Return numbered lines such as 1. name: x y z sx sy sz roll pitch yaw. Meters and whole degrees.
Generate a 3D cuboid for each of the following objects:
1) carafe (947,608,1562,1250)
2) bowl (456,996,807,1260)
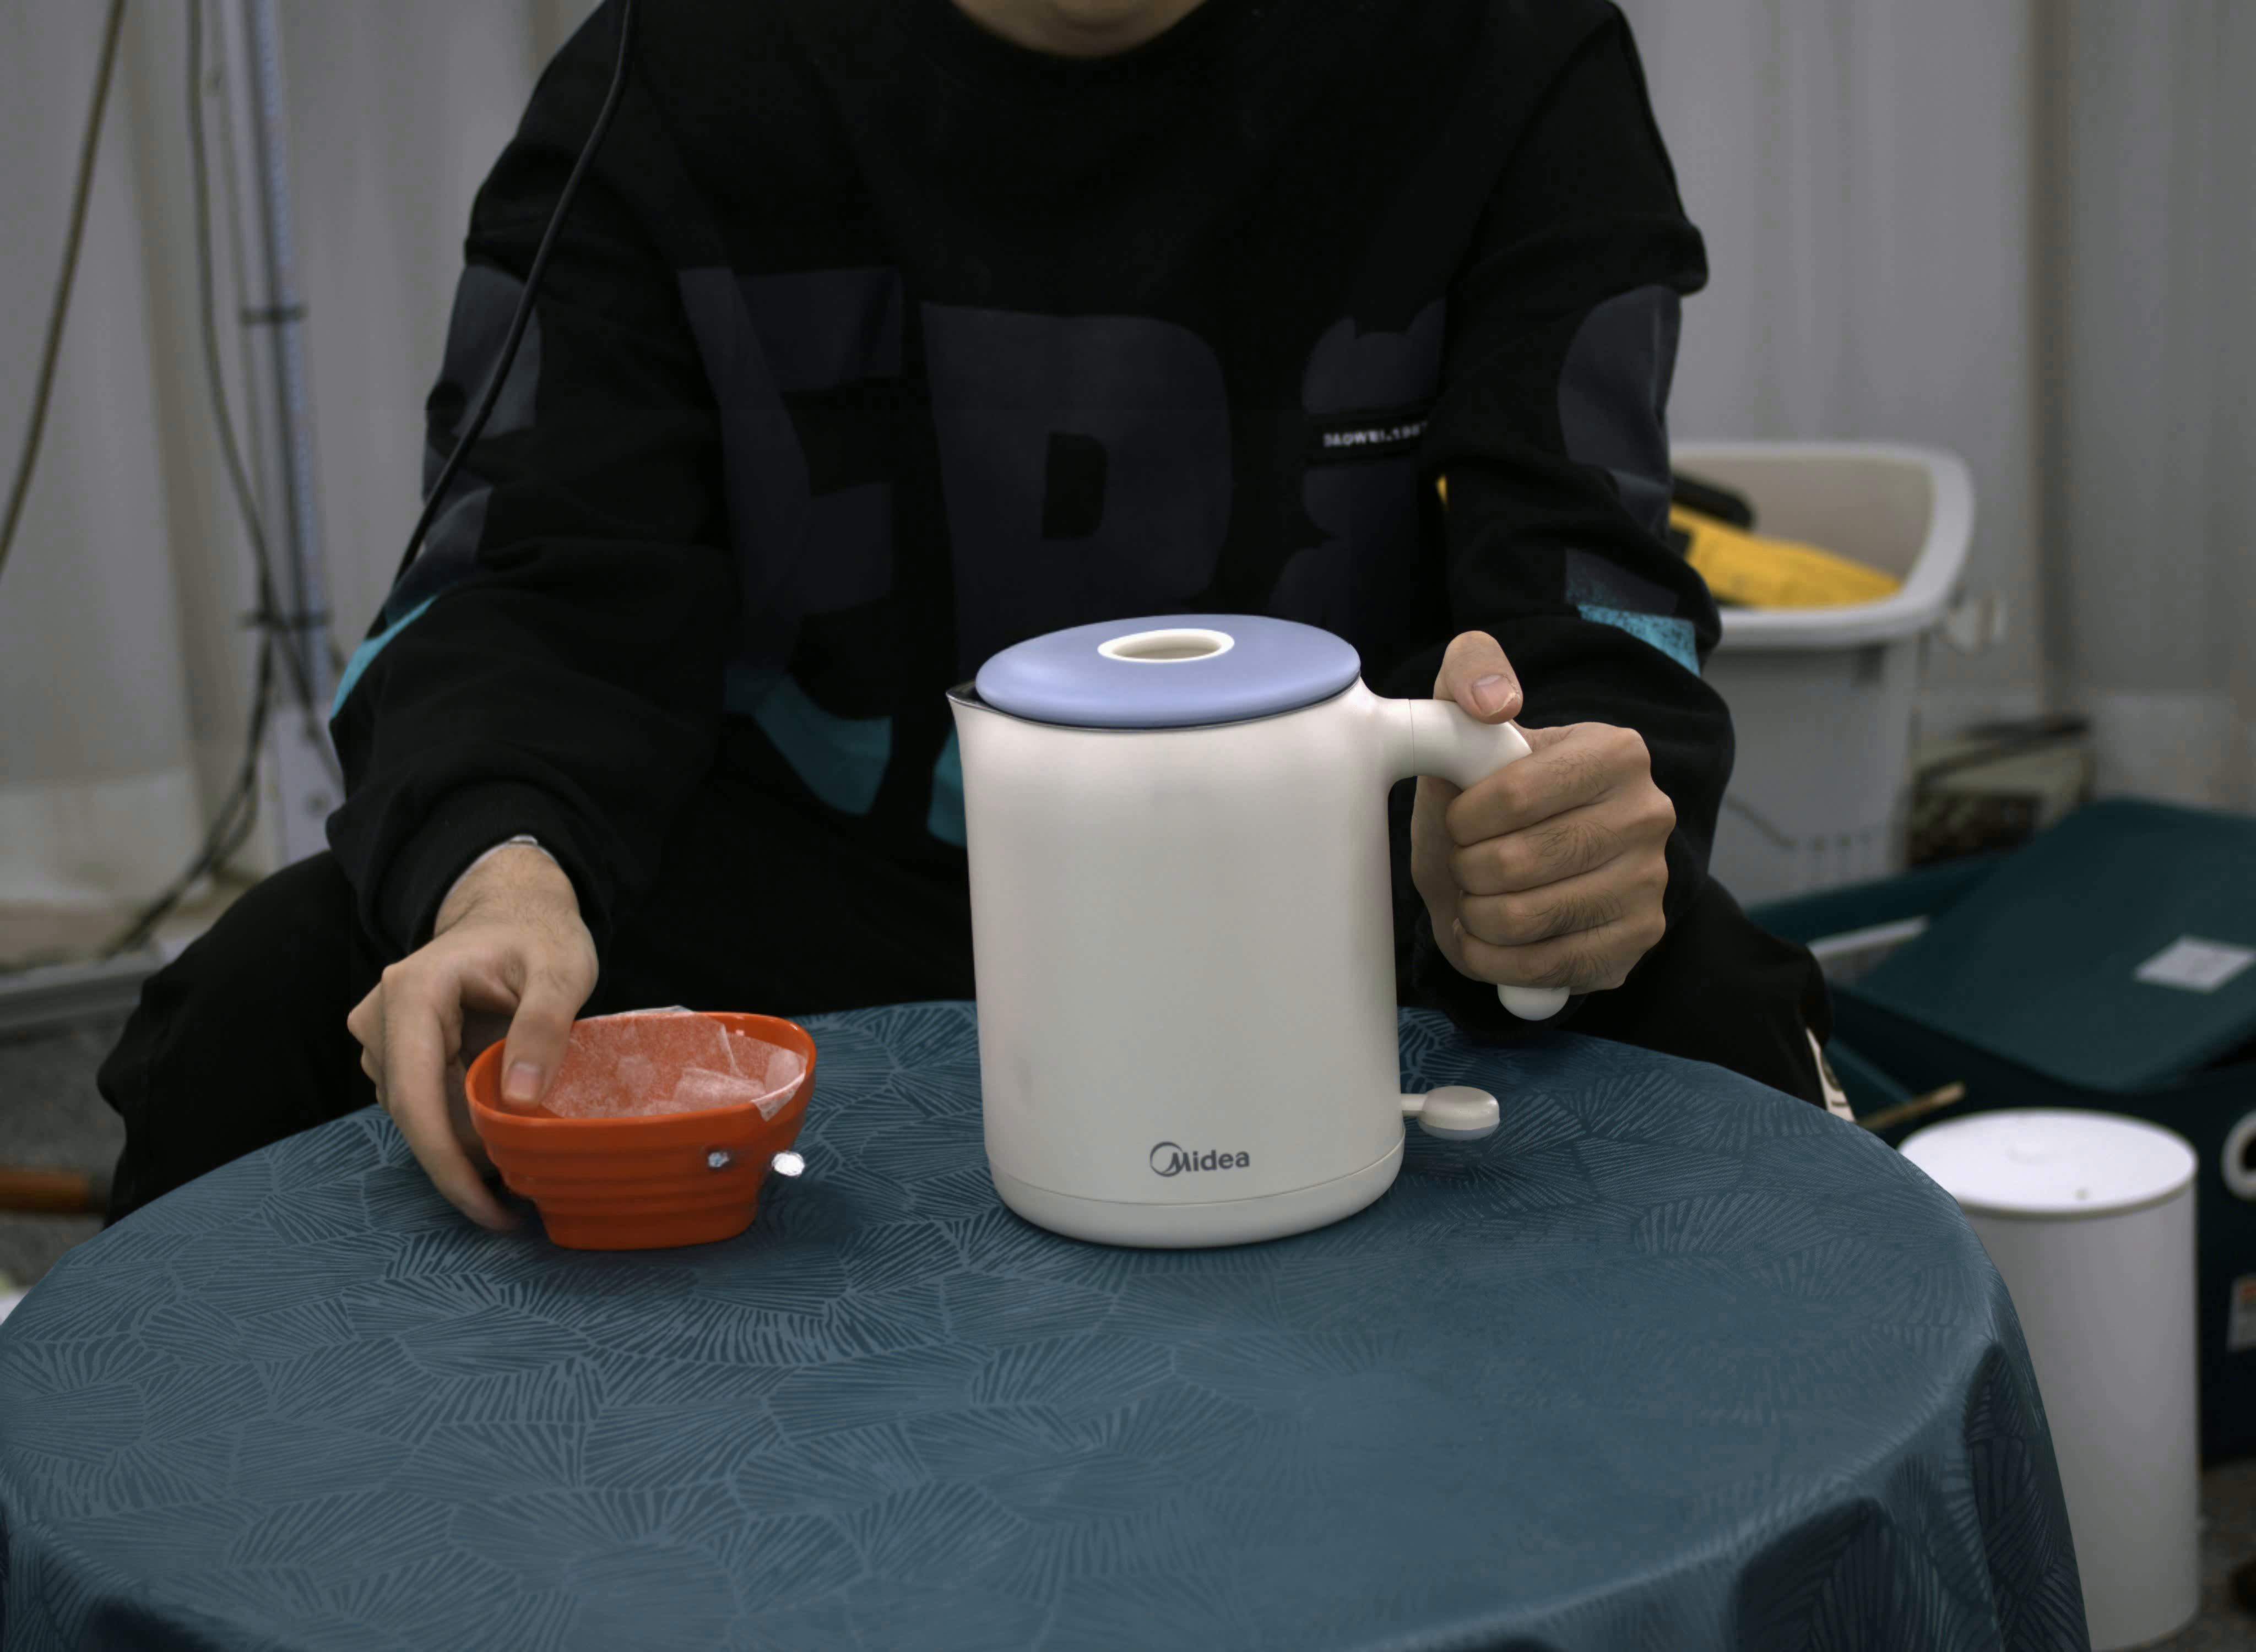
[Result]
1. carafe: 0.040 0.030 1.695 0.190 0.182 0.133 -1 15 -2
2. bowl: -0.151 0.098 1.710 0.118 0.051 0.120 -8 19 2
